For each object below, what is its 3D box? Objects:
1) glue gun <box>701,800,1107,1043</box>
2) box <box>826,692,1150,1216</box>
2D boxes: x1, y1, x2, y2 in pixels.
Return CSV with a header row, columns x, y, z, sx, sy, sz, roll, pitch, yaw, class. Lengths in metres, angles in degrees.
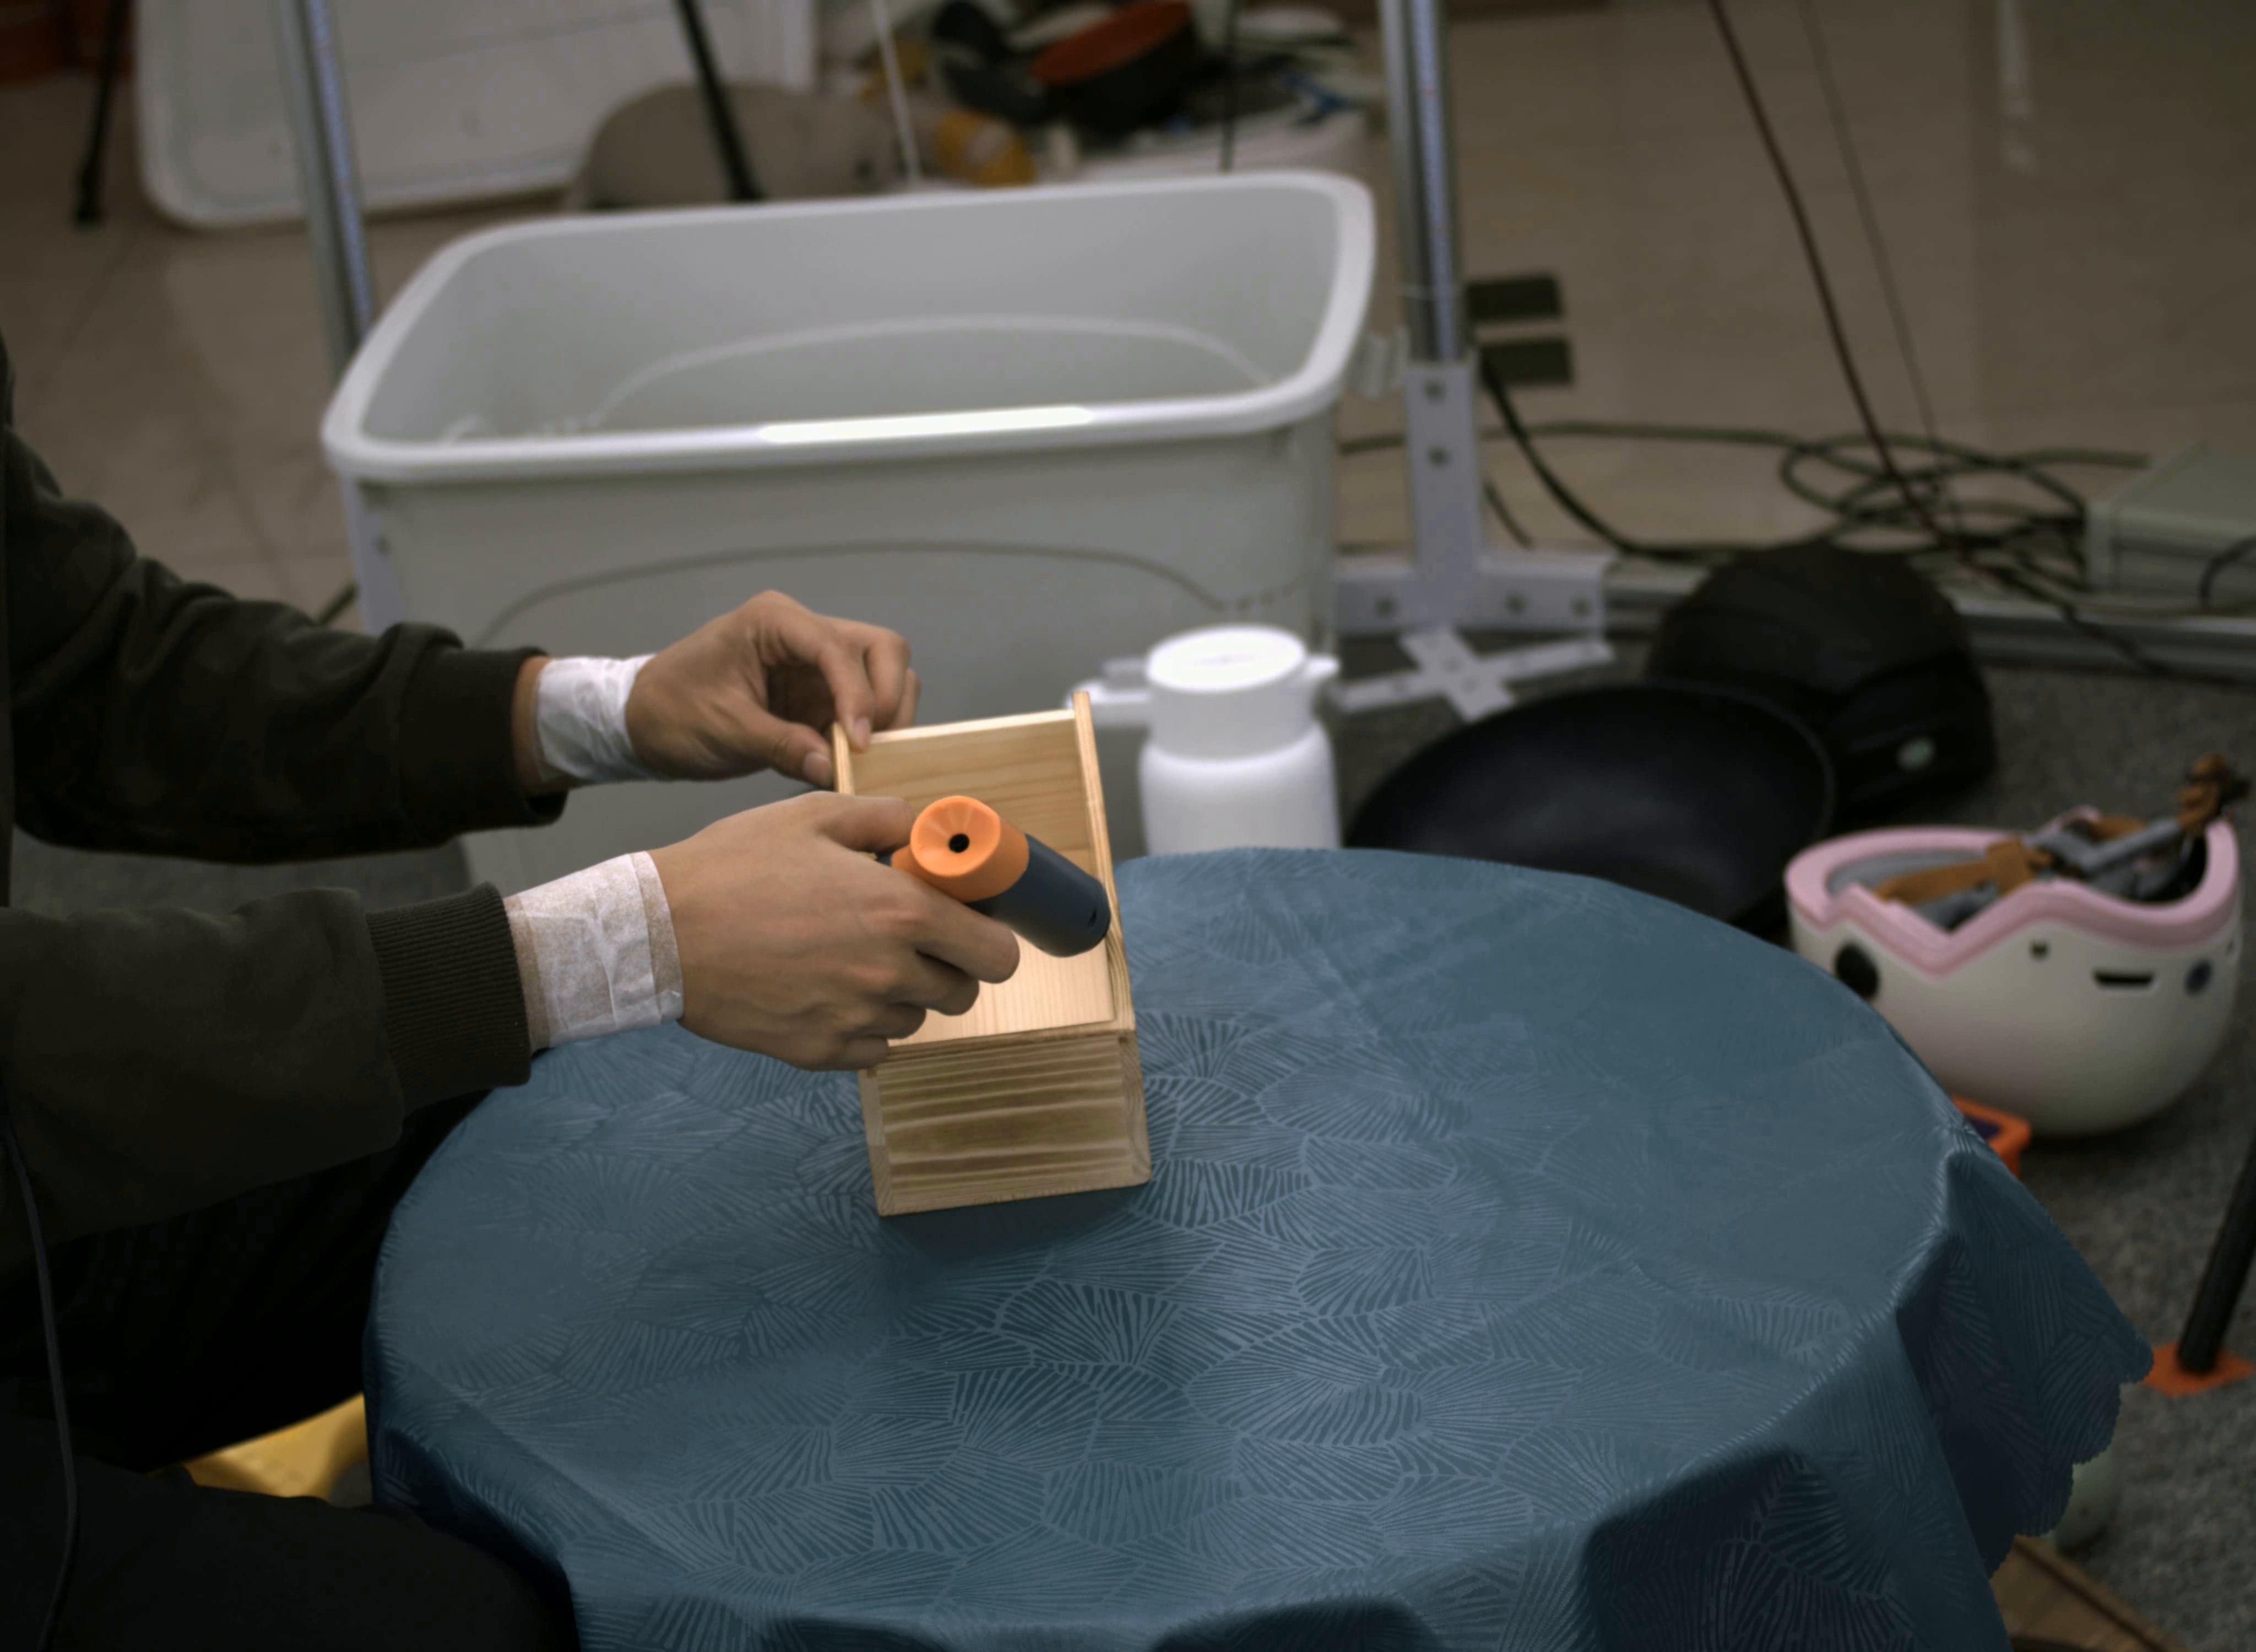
x,y,z,sx,sy,sz,roll,pitch,yaw,class
-0.080,0.037,2.101,0.139,0.119,0.040,-17,64,3,glue gun
-0.056,0.048,2.206,0.107,0.082,0.207,-8,39,-1,box
